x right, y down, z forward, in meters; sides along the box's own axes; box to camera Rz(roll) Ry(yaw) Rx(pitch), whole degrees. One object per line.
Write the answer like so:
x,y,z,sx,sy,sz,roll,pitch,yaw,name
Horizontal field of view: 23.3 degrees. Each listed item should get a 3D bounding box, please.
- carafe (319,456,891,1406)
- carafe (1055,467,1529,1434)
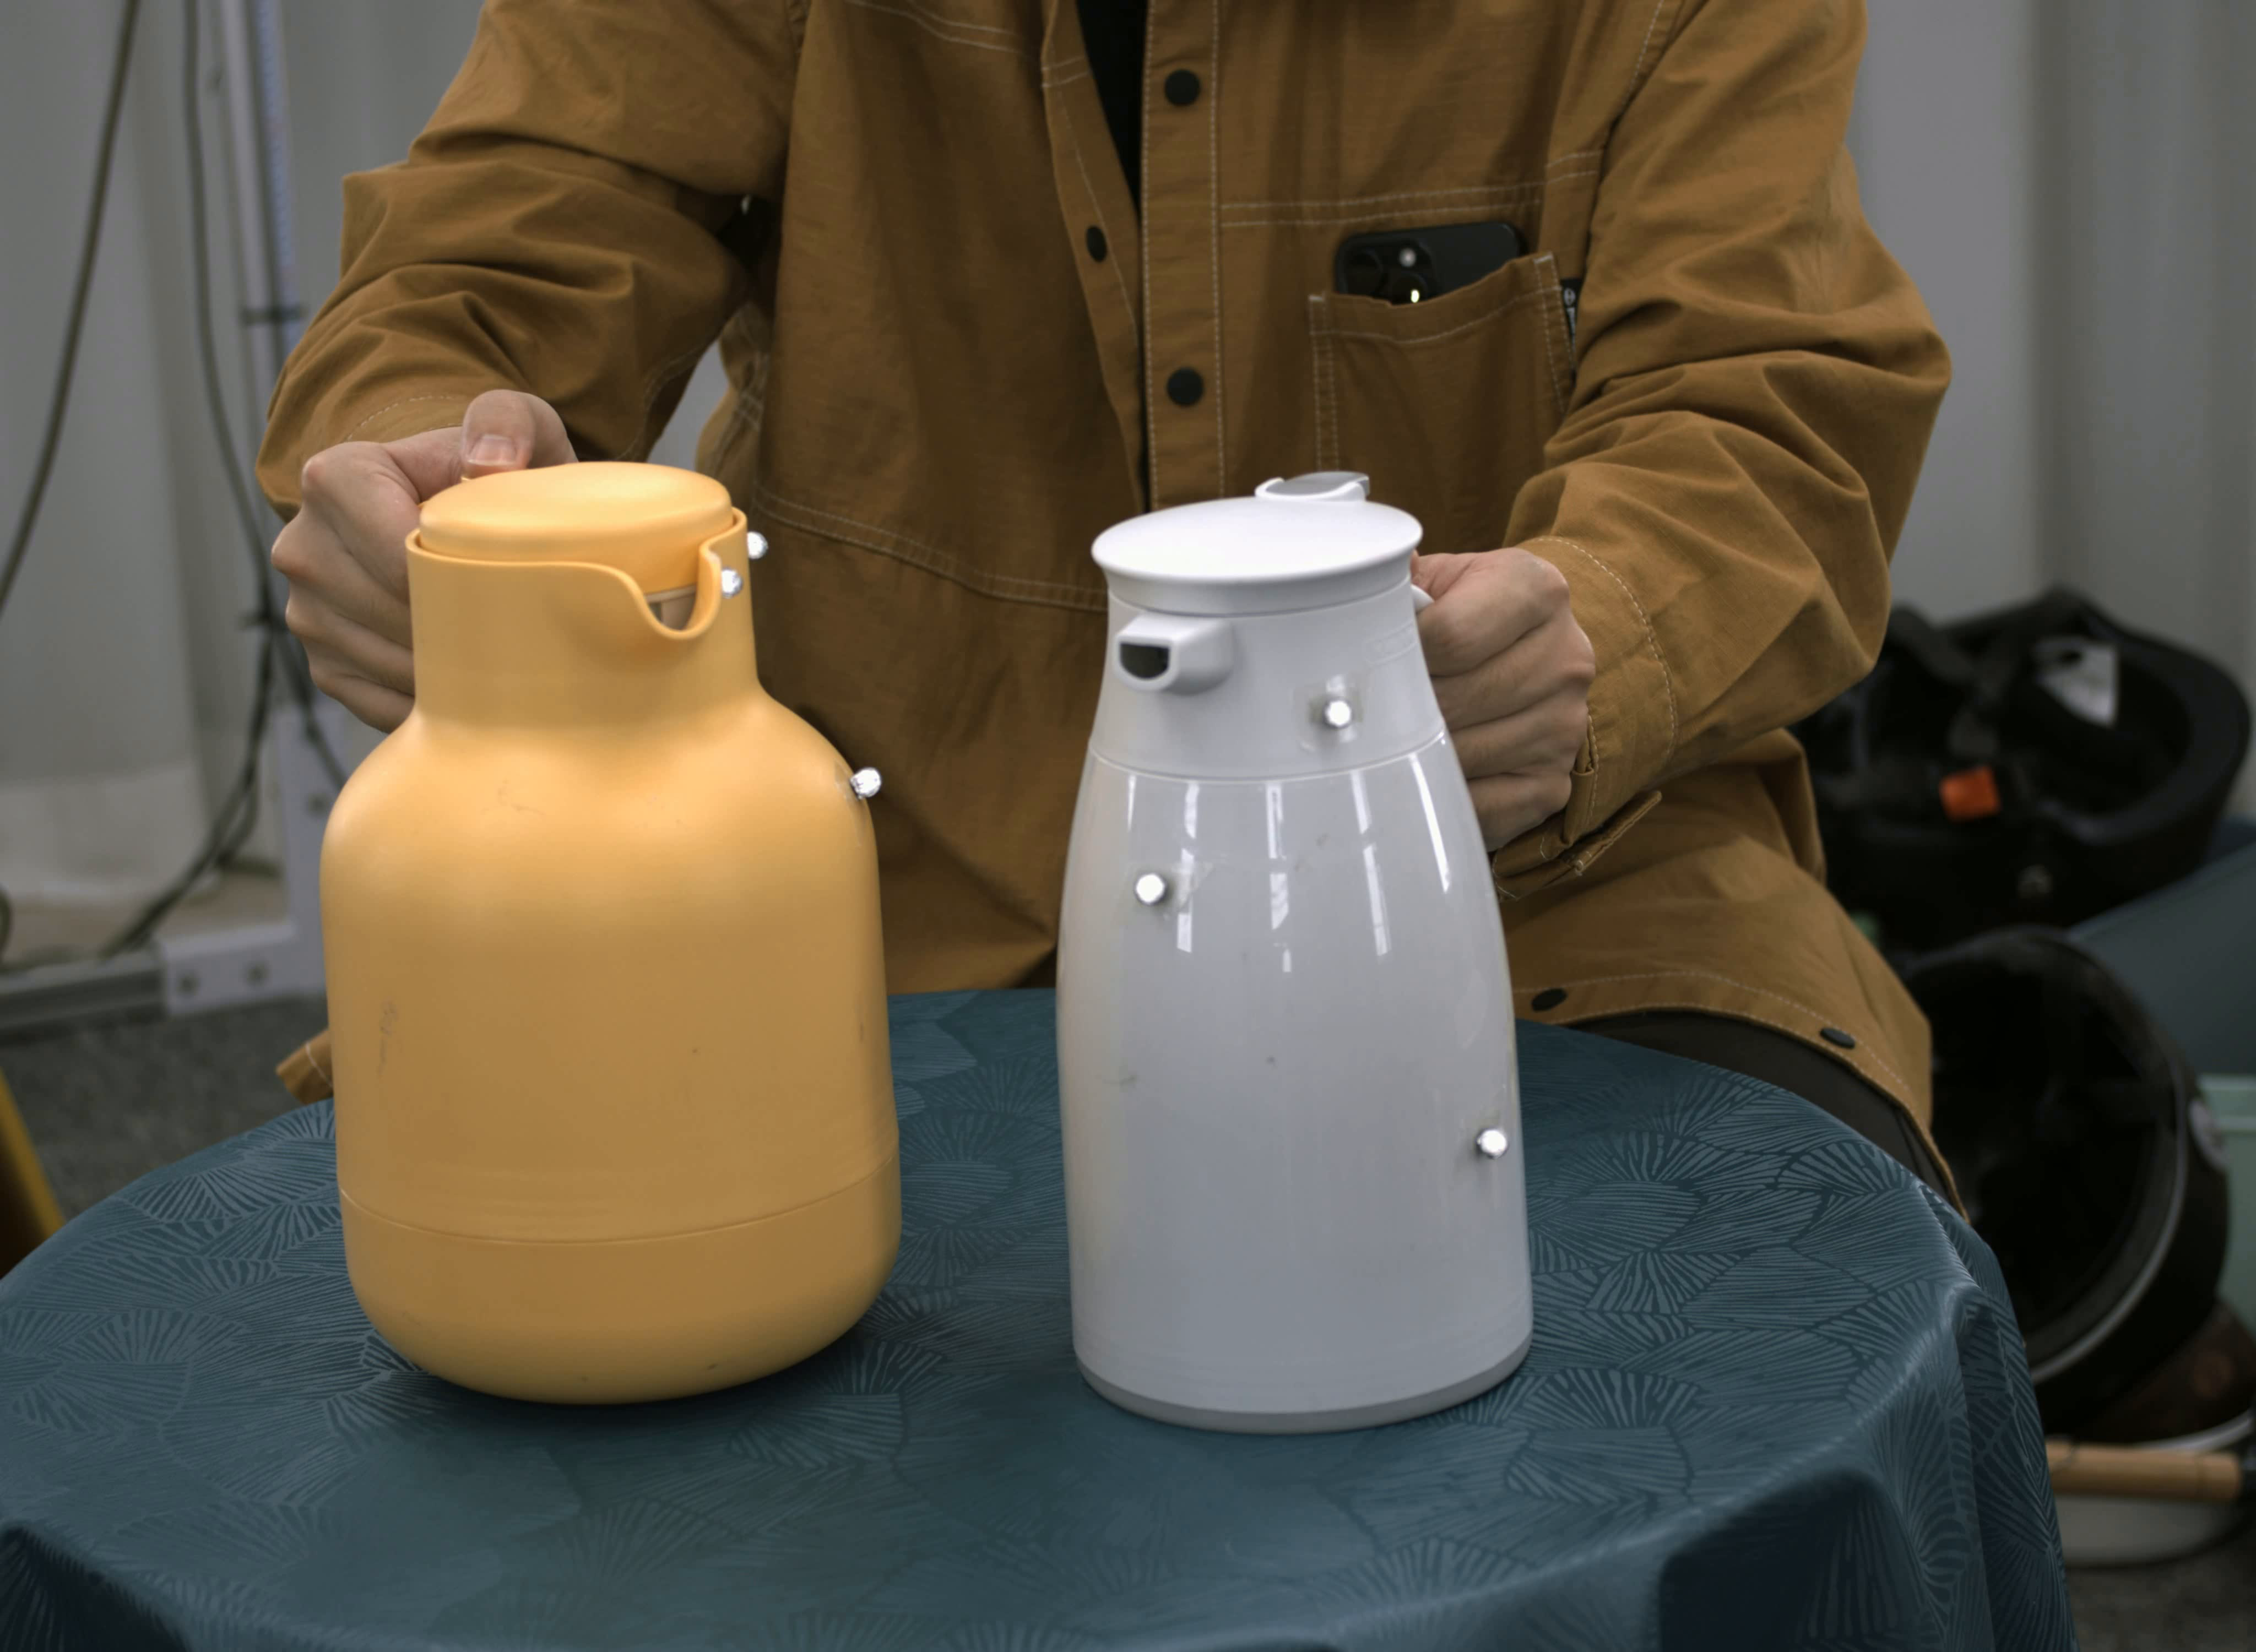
-0.159,0.022,1.592,0.162,0.259,0.204,-7,15,-26,carafe
0.051,0.026,1.551,0.133,0.247,0.168,5,17,30,carafe
